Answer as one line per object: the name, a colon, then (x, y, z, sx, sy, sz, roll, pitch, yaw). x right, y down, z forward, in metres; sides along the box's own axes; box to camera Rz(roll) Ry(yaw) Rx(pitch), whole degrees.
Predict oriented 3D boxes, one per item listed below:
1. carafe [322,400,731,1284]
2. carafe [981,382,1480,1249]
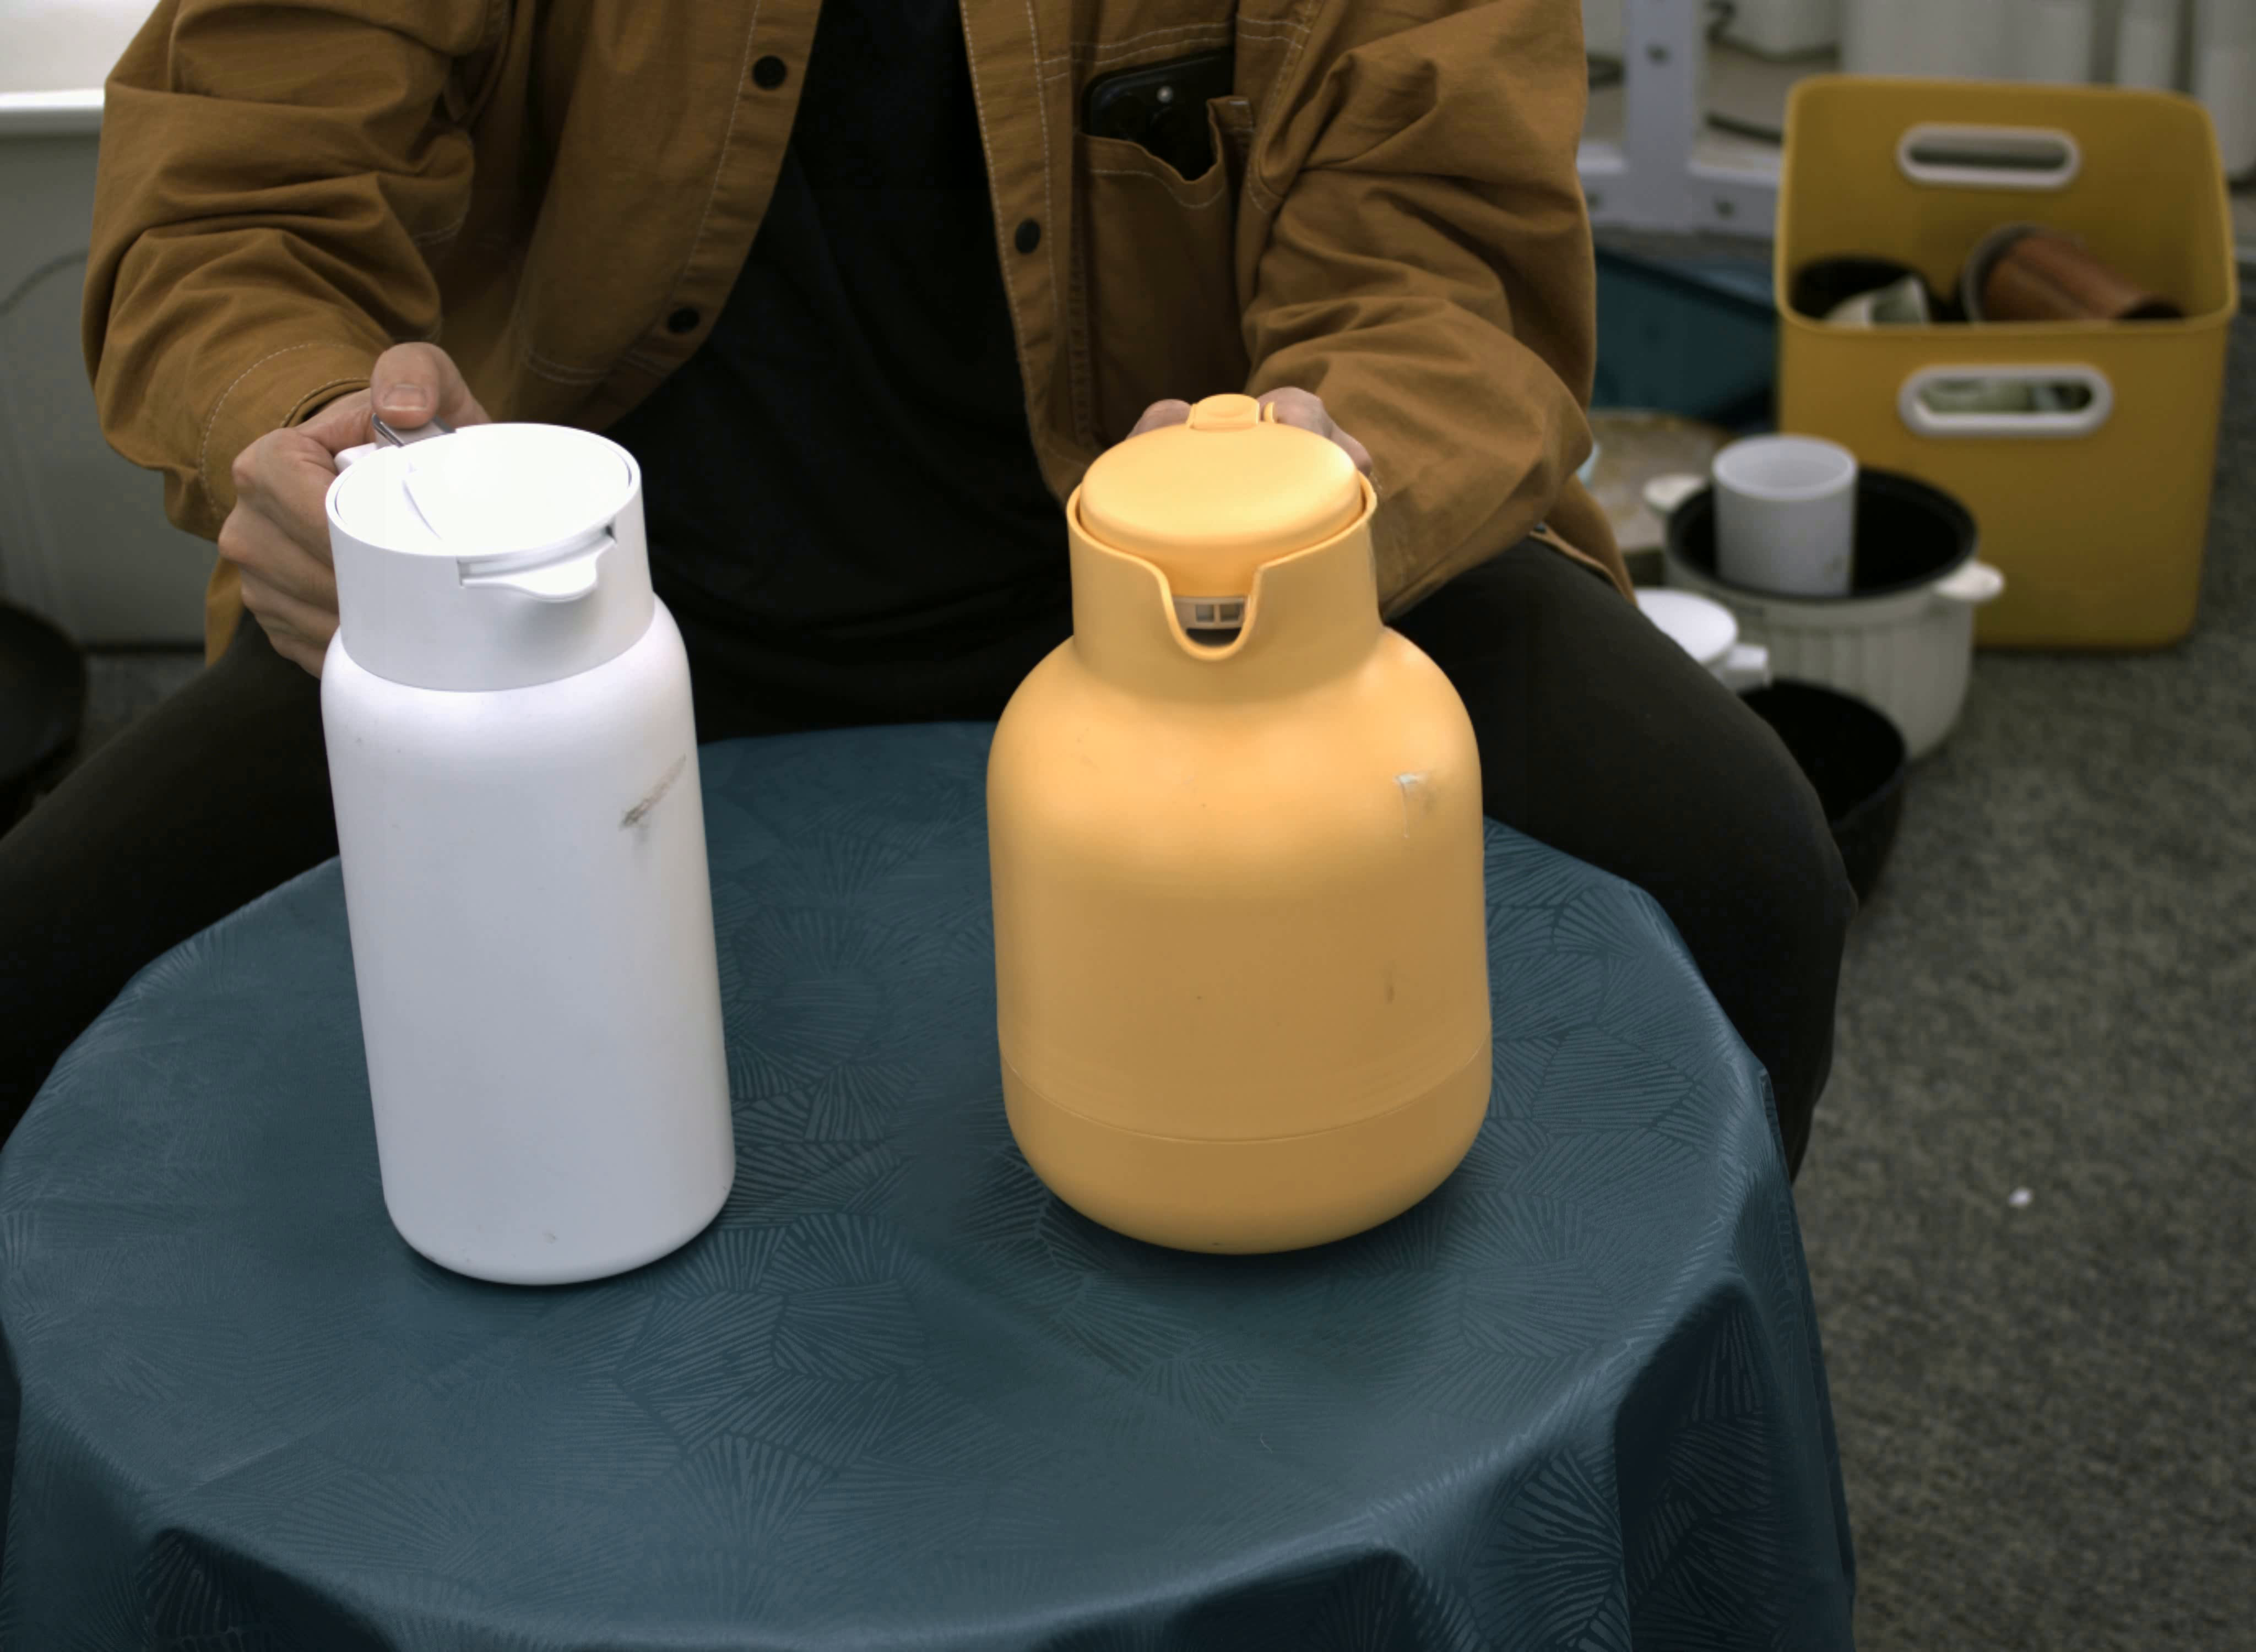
carafe: (-0.204, 0.002, 1.822, 0.124, 0.266, 0.173, -18, 30, -24)
carafe: (0.036, -0.013, 1.832, 0.162, 0.257, 0.206, 3, 28, 5)
